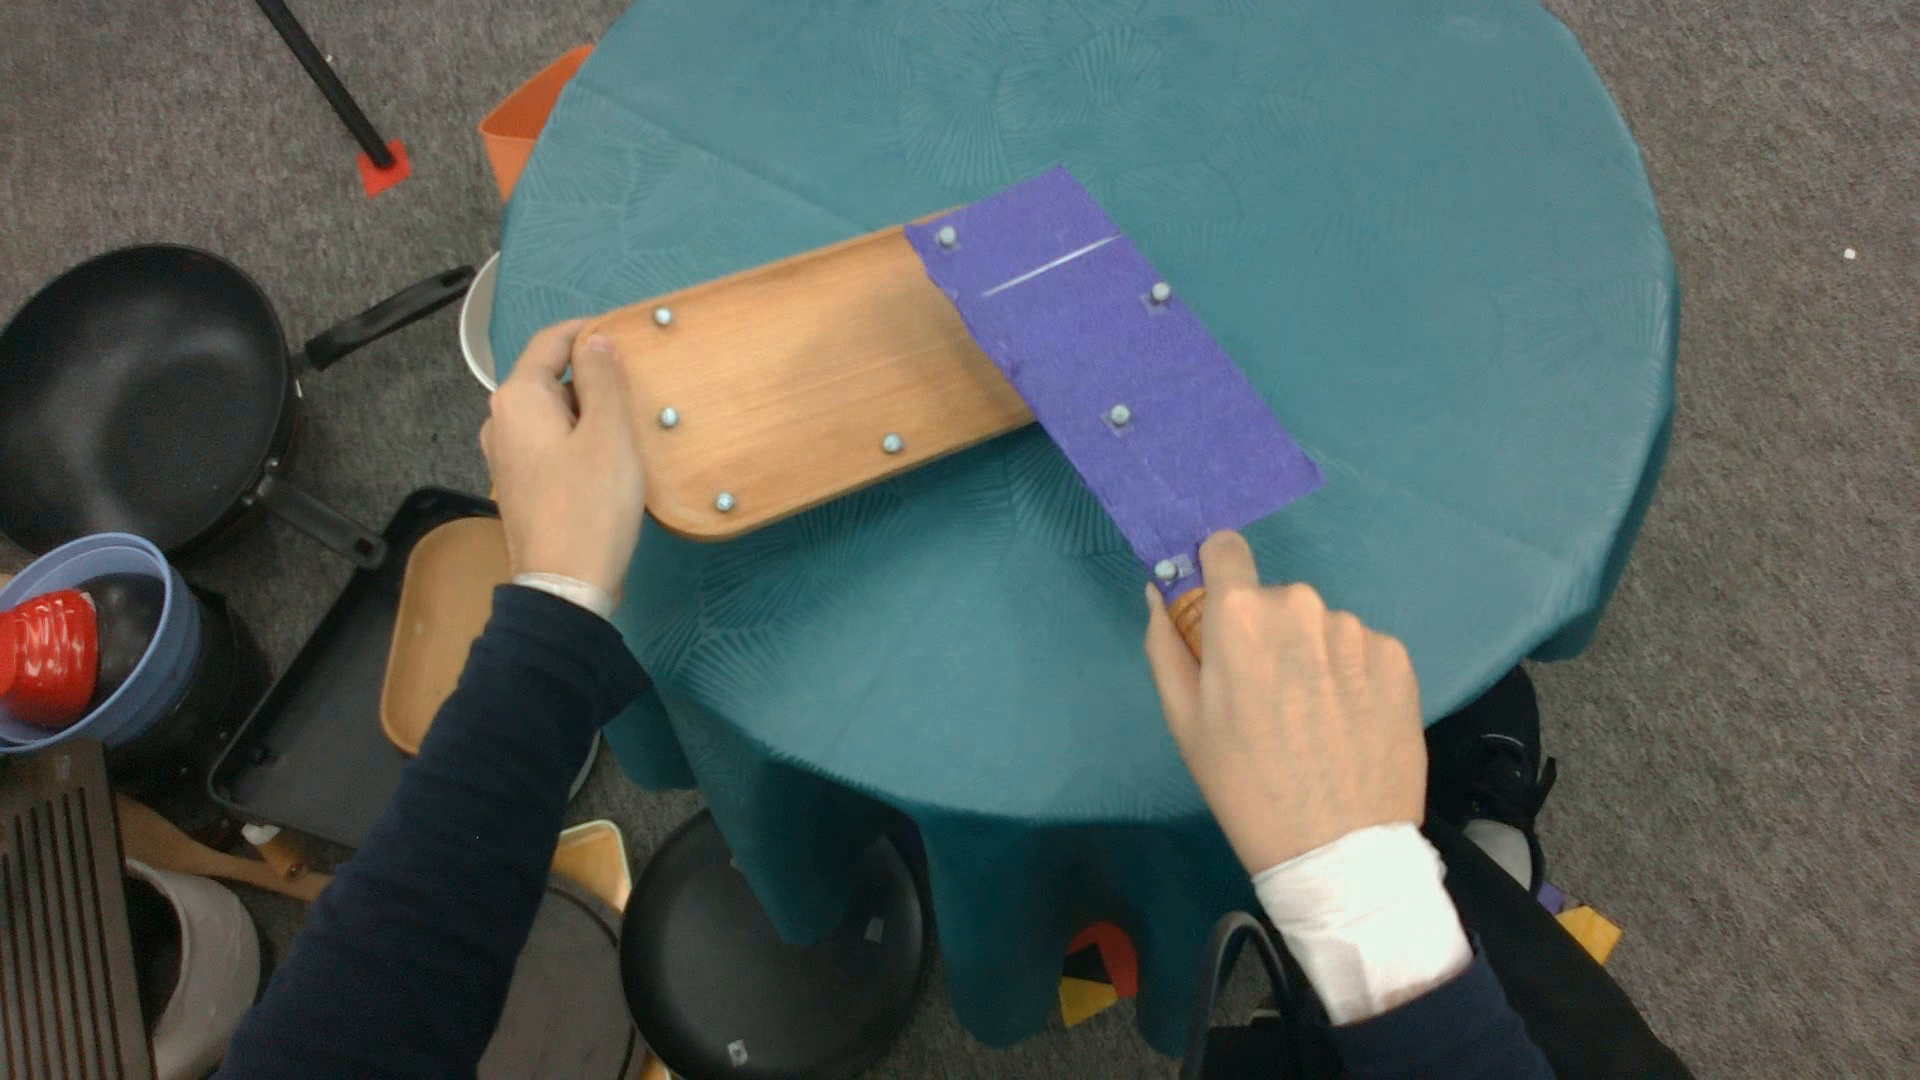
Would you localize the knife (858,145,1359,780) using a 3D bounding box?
[{"bbox_3d":[0.078,-0.053,0.568,0.104,0.032,0.316,-25,68,-23],"label":"knife"}]

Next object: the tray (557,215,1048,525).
[{"bbox_3d":[-0.052,-0.090,0.645,0.251,0.023,0.131,-20,68,-24],"label":"tray"}]
